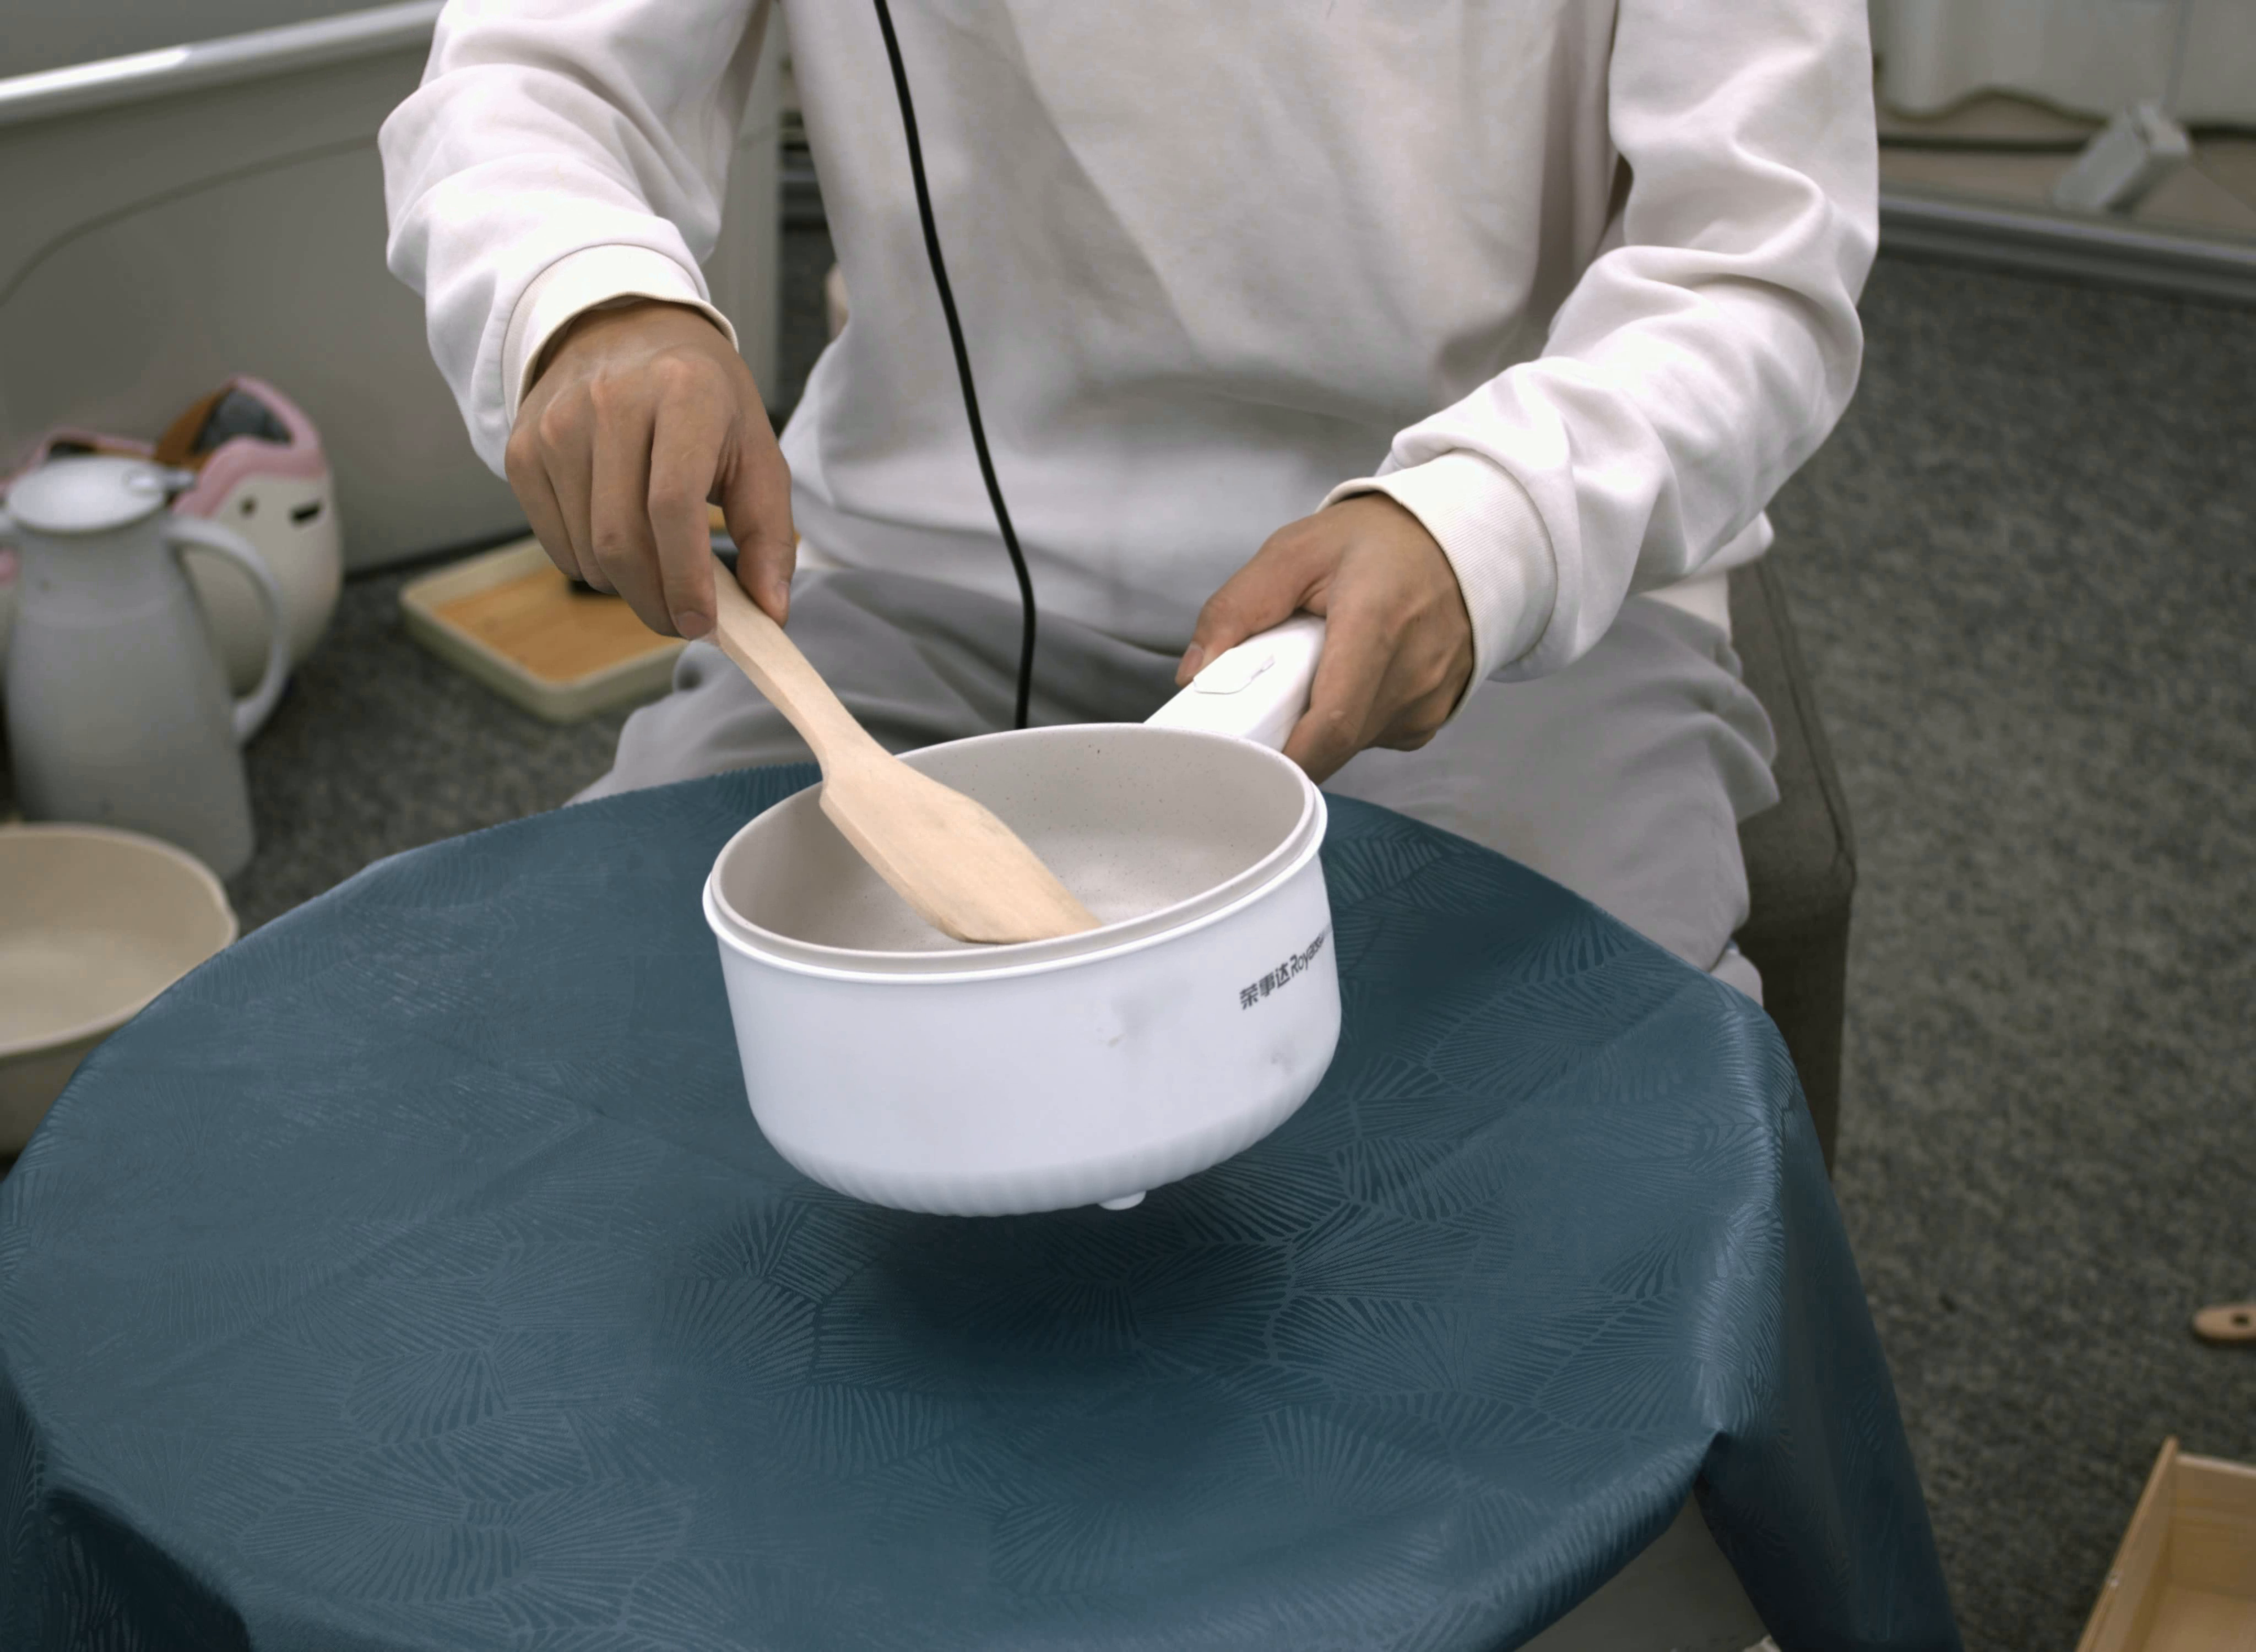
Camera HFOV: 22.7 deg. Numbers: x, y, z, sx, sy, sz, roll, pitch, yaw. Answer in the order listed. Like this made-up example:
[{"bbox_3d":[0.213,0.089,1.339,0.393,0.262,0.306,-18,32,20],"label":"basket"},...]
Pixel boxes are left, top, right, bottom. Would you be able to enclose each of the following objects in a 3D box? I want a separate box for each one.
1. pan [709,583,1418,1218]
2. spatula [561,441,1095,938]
[{"bbox_3d":[0.007,0.022,1.868,0.199,0.101,0.360,2,22,28],"label":"pan"},{"bbox_3d":[-0.110,-0.046,1.857,0.072,0.010,0.295,4,32,-43],"label":"spatula"}]
